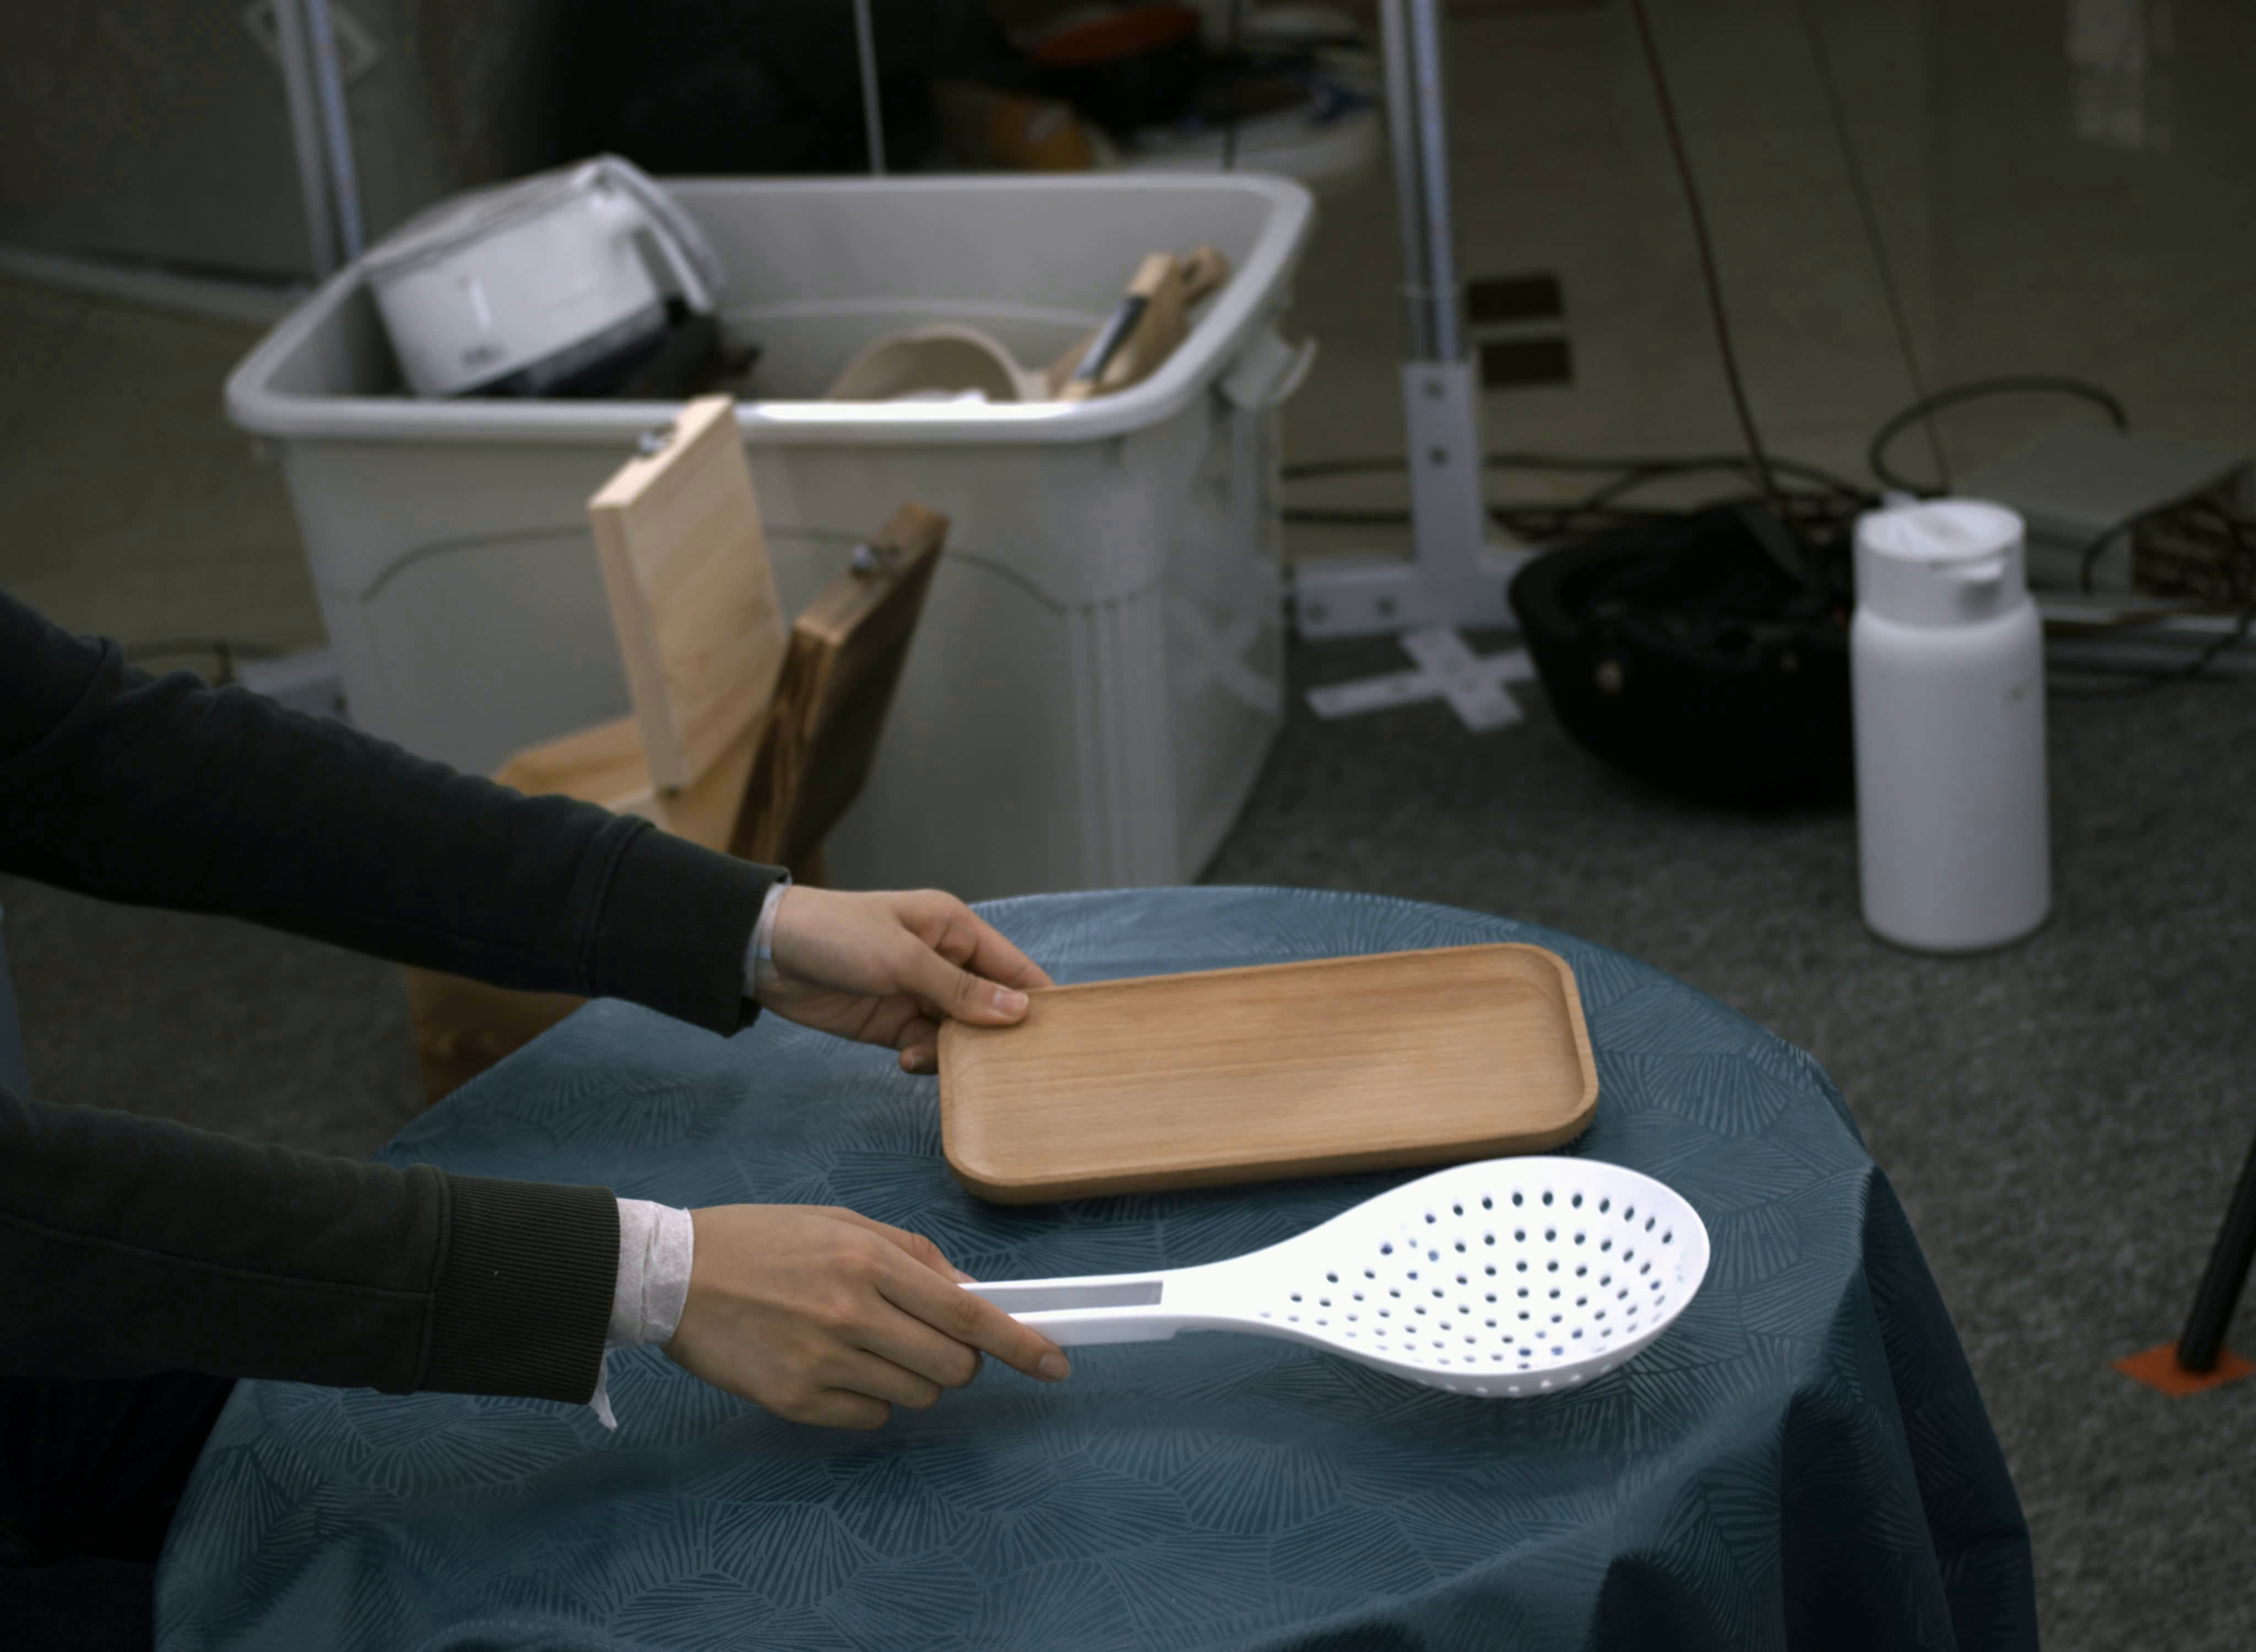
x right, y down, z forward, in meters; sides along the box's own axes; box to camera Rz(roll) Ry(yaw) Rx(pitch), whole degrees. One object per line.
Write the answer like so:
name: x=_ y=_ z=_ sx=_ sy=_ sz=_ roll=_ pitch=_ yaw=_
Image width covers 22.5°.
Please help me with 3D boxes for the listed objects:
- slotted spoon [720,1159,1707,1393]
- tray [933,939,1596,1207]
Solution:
slotted spoon: x=0.028 y=0.166 z=1.998 sx=0.349 sy=0.046 sz=0.134 roll=0 pitch=28 yaw=5
tray: x=0.051 y=0.095 z=2.181 sx=0.250 sy=0.023 sz=0.128 roll=-6 pitch=32 yaw=0
